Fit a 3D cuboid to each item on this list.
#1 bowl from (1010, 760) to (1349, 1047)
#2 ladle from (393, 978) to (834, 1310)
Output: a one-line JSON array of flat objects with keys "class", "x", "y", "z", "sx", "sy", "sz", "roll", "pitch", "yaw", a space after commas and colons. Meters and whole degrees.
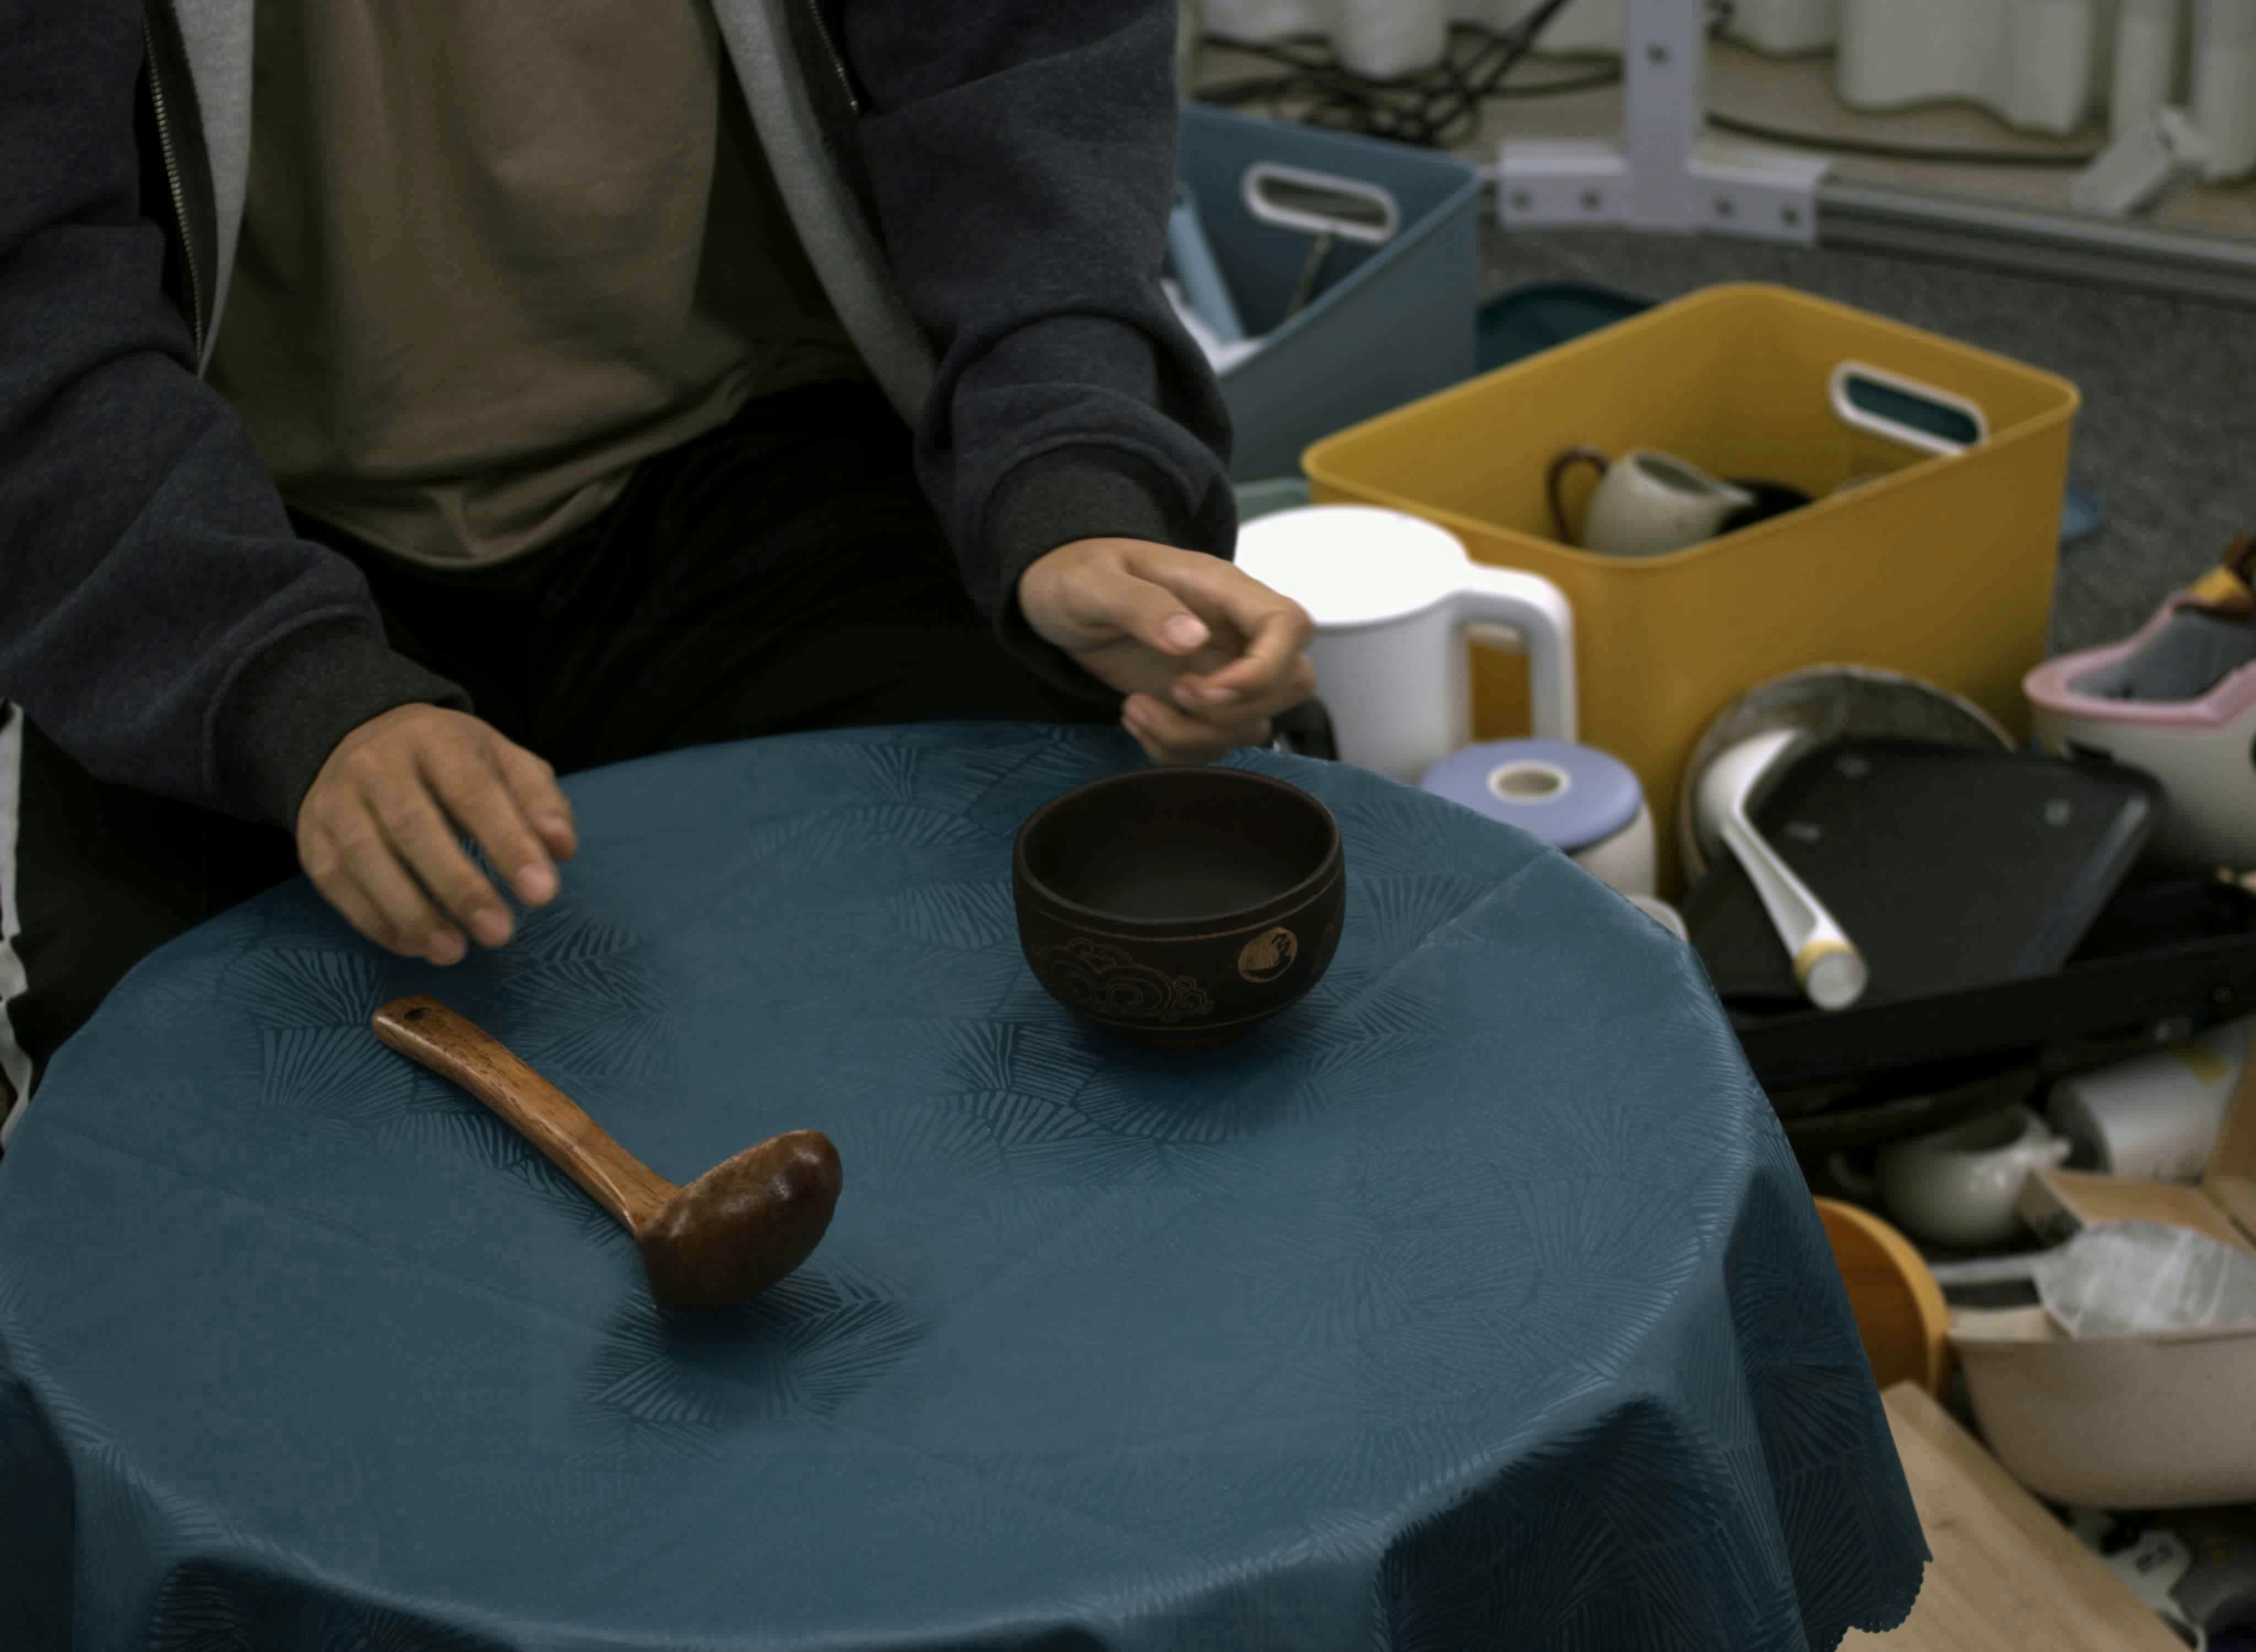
[{"class": "bowl", "x": 0.019, "y": 0.033, "z": 1.951, "sx": 0.117, "sy": 0.069, "sz": 0.120, "roll": -3, "pitch": 27, "yaw": 2}, {"class": "ladle", "x": -0.186, "y": 0.086, "z": 1.865, "sx": 0.082, "sy": 0.076, "sz": 0.275, "roll": -23, "pitch": 34, "yaw": -25}]
